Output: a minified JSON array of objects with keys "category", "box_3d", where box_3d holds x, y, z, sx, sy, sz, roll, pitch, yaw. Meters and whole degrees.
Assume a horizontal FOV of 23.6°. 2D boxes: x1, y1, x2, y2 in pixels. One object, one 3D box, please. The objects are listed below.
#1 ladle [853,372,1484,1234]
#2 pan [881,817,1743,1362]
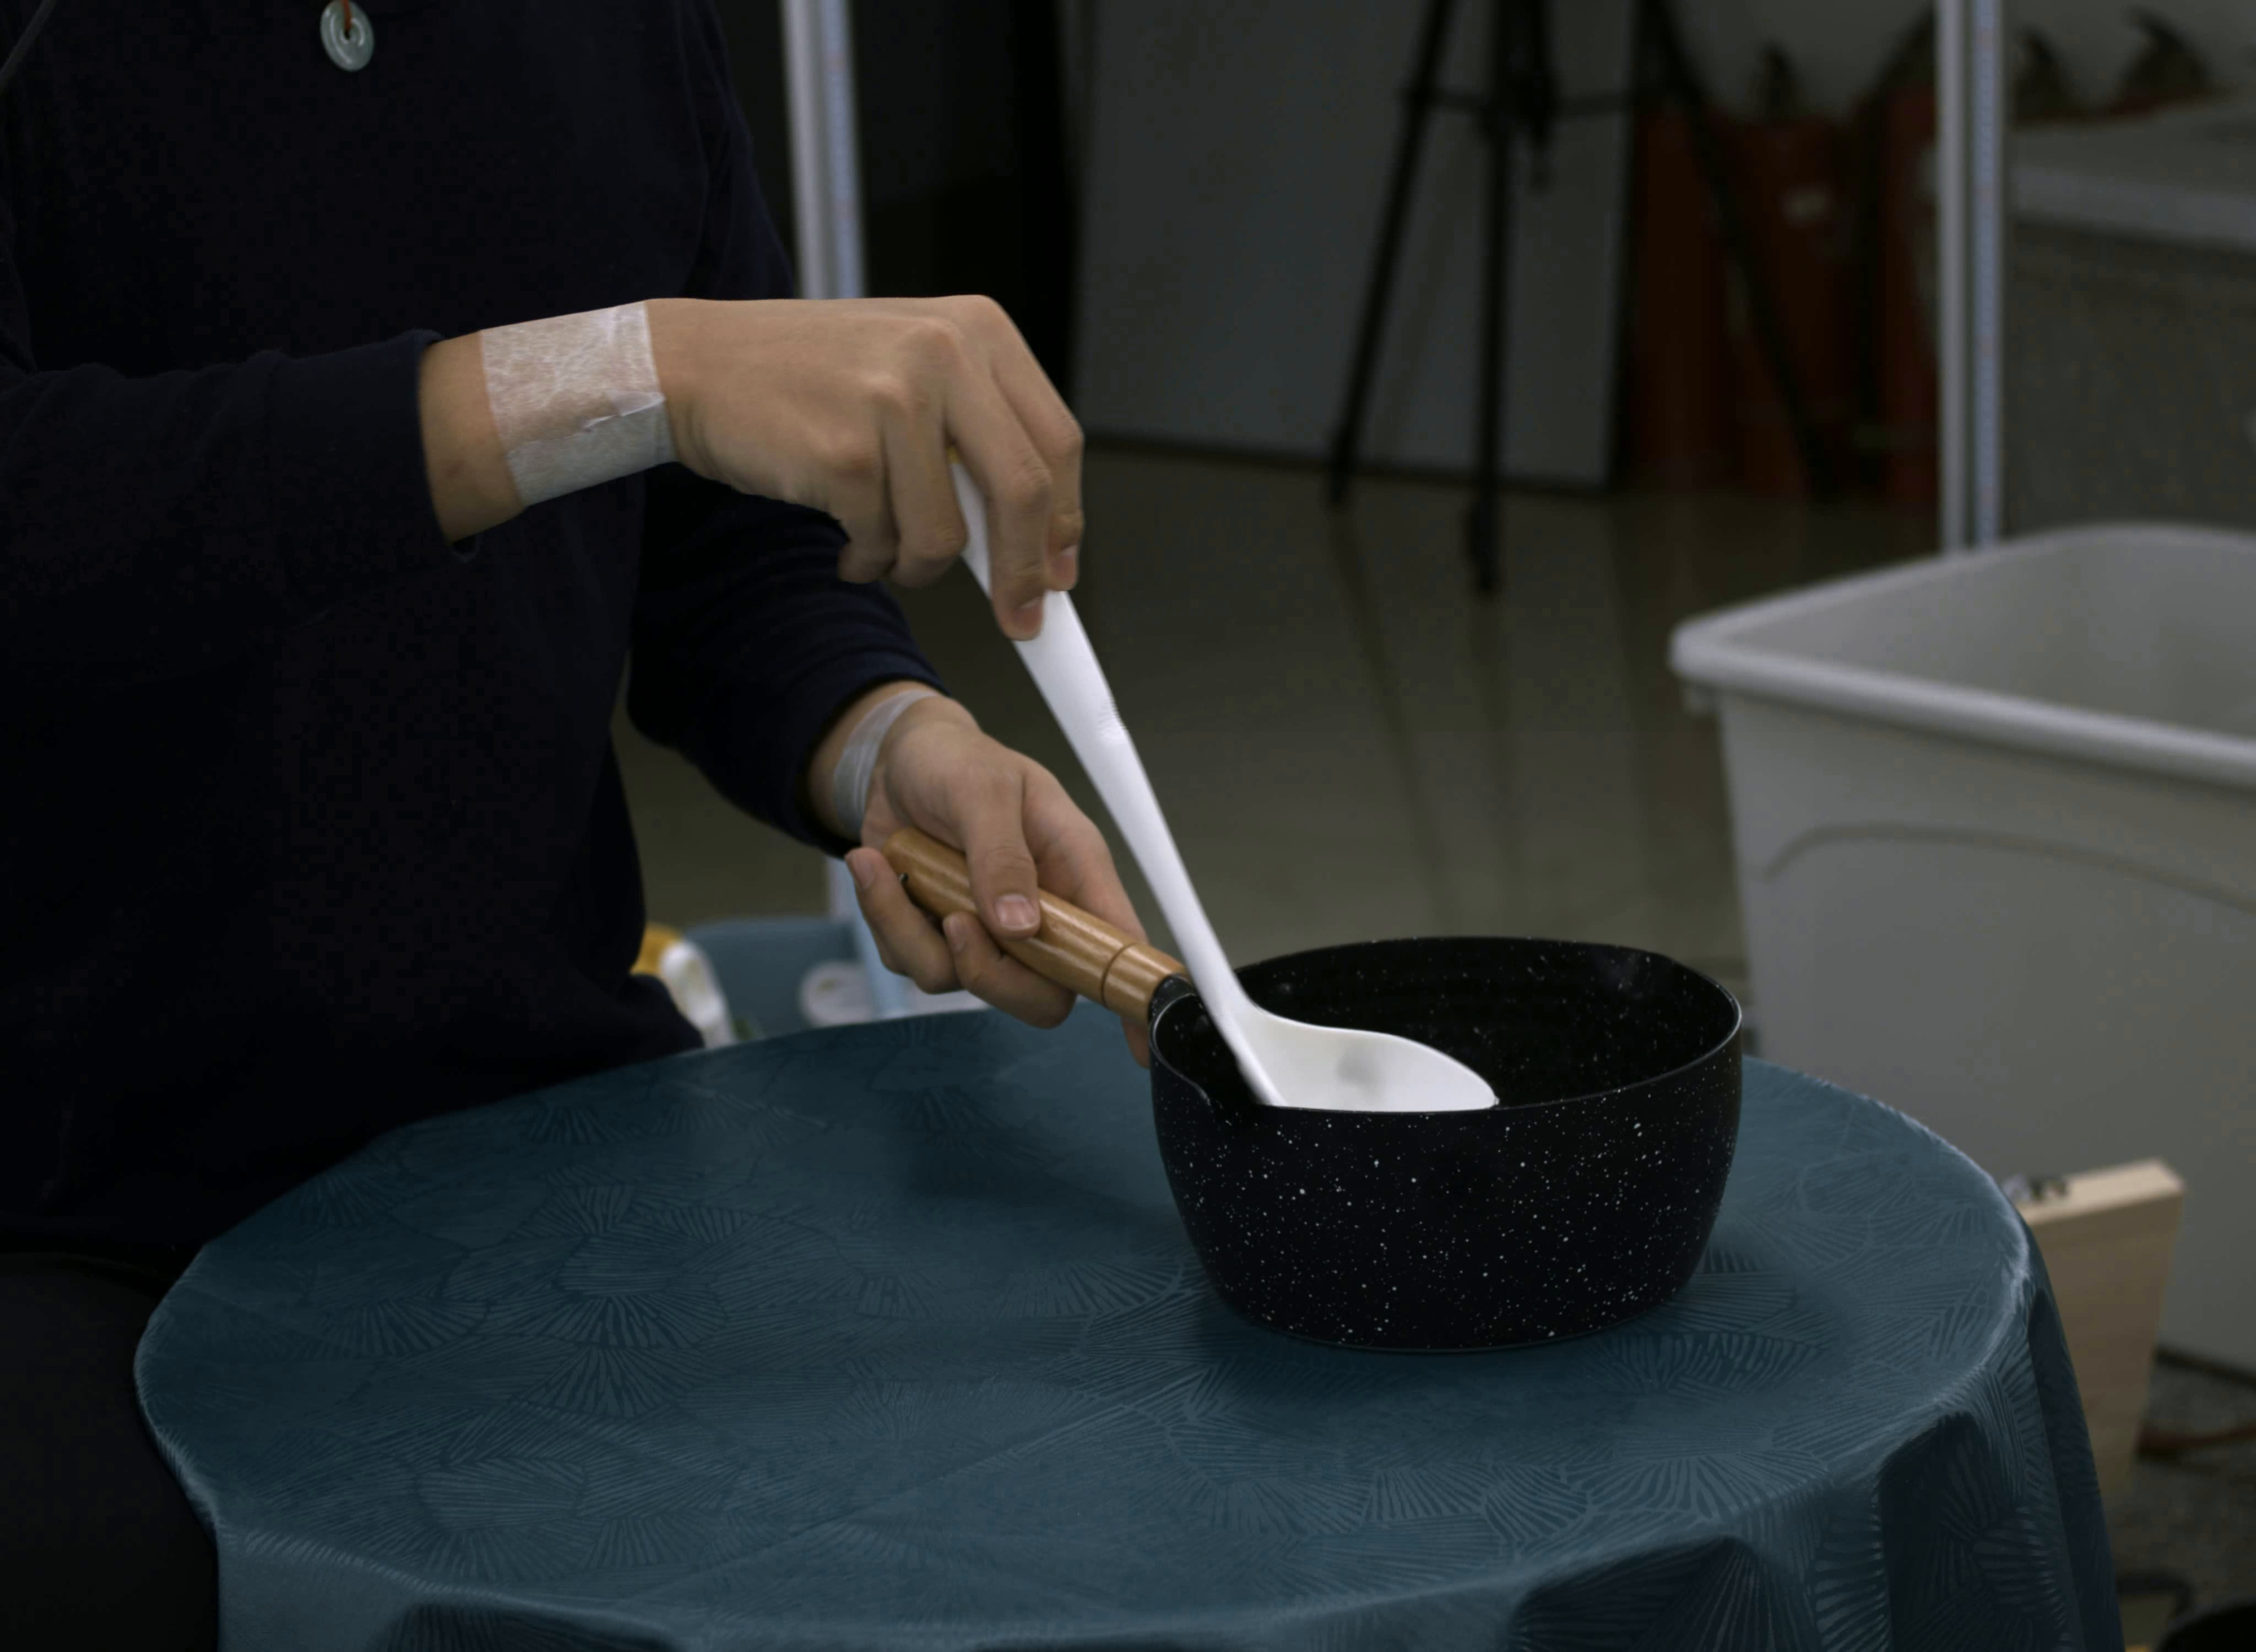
[{"category":"ladle","box_3d":[0.017,-0.006,1.594,0.070,0.294,0.089,-24,9,38]},{"category":"pan","box_3d":[0.042,0.076,1.710,0.346,0.109,0.203,12,22,44]}]
